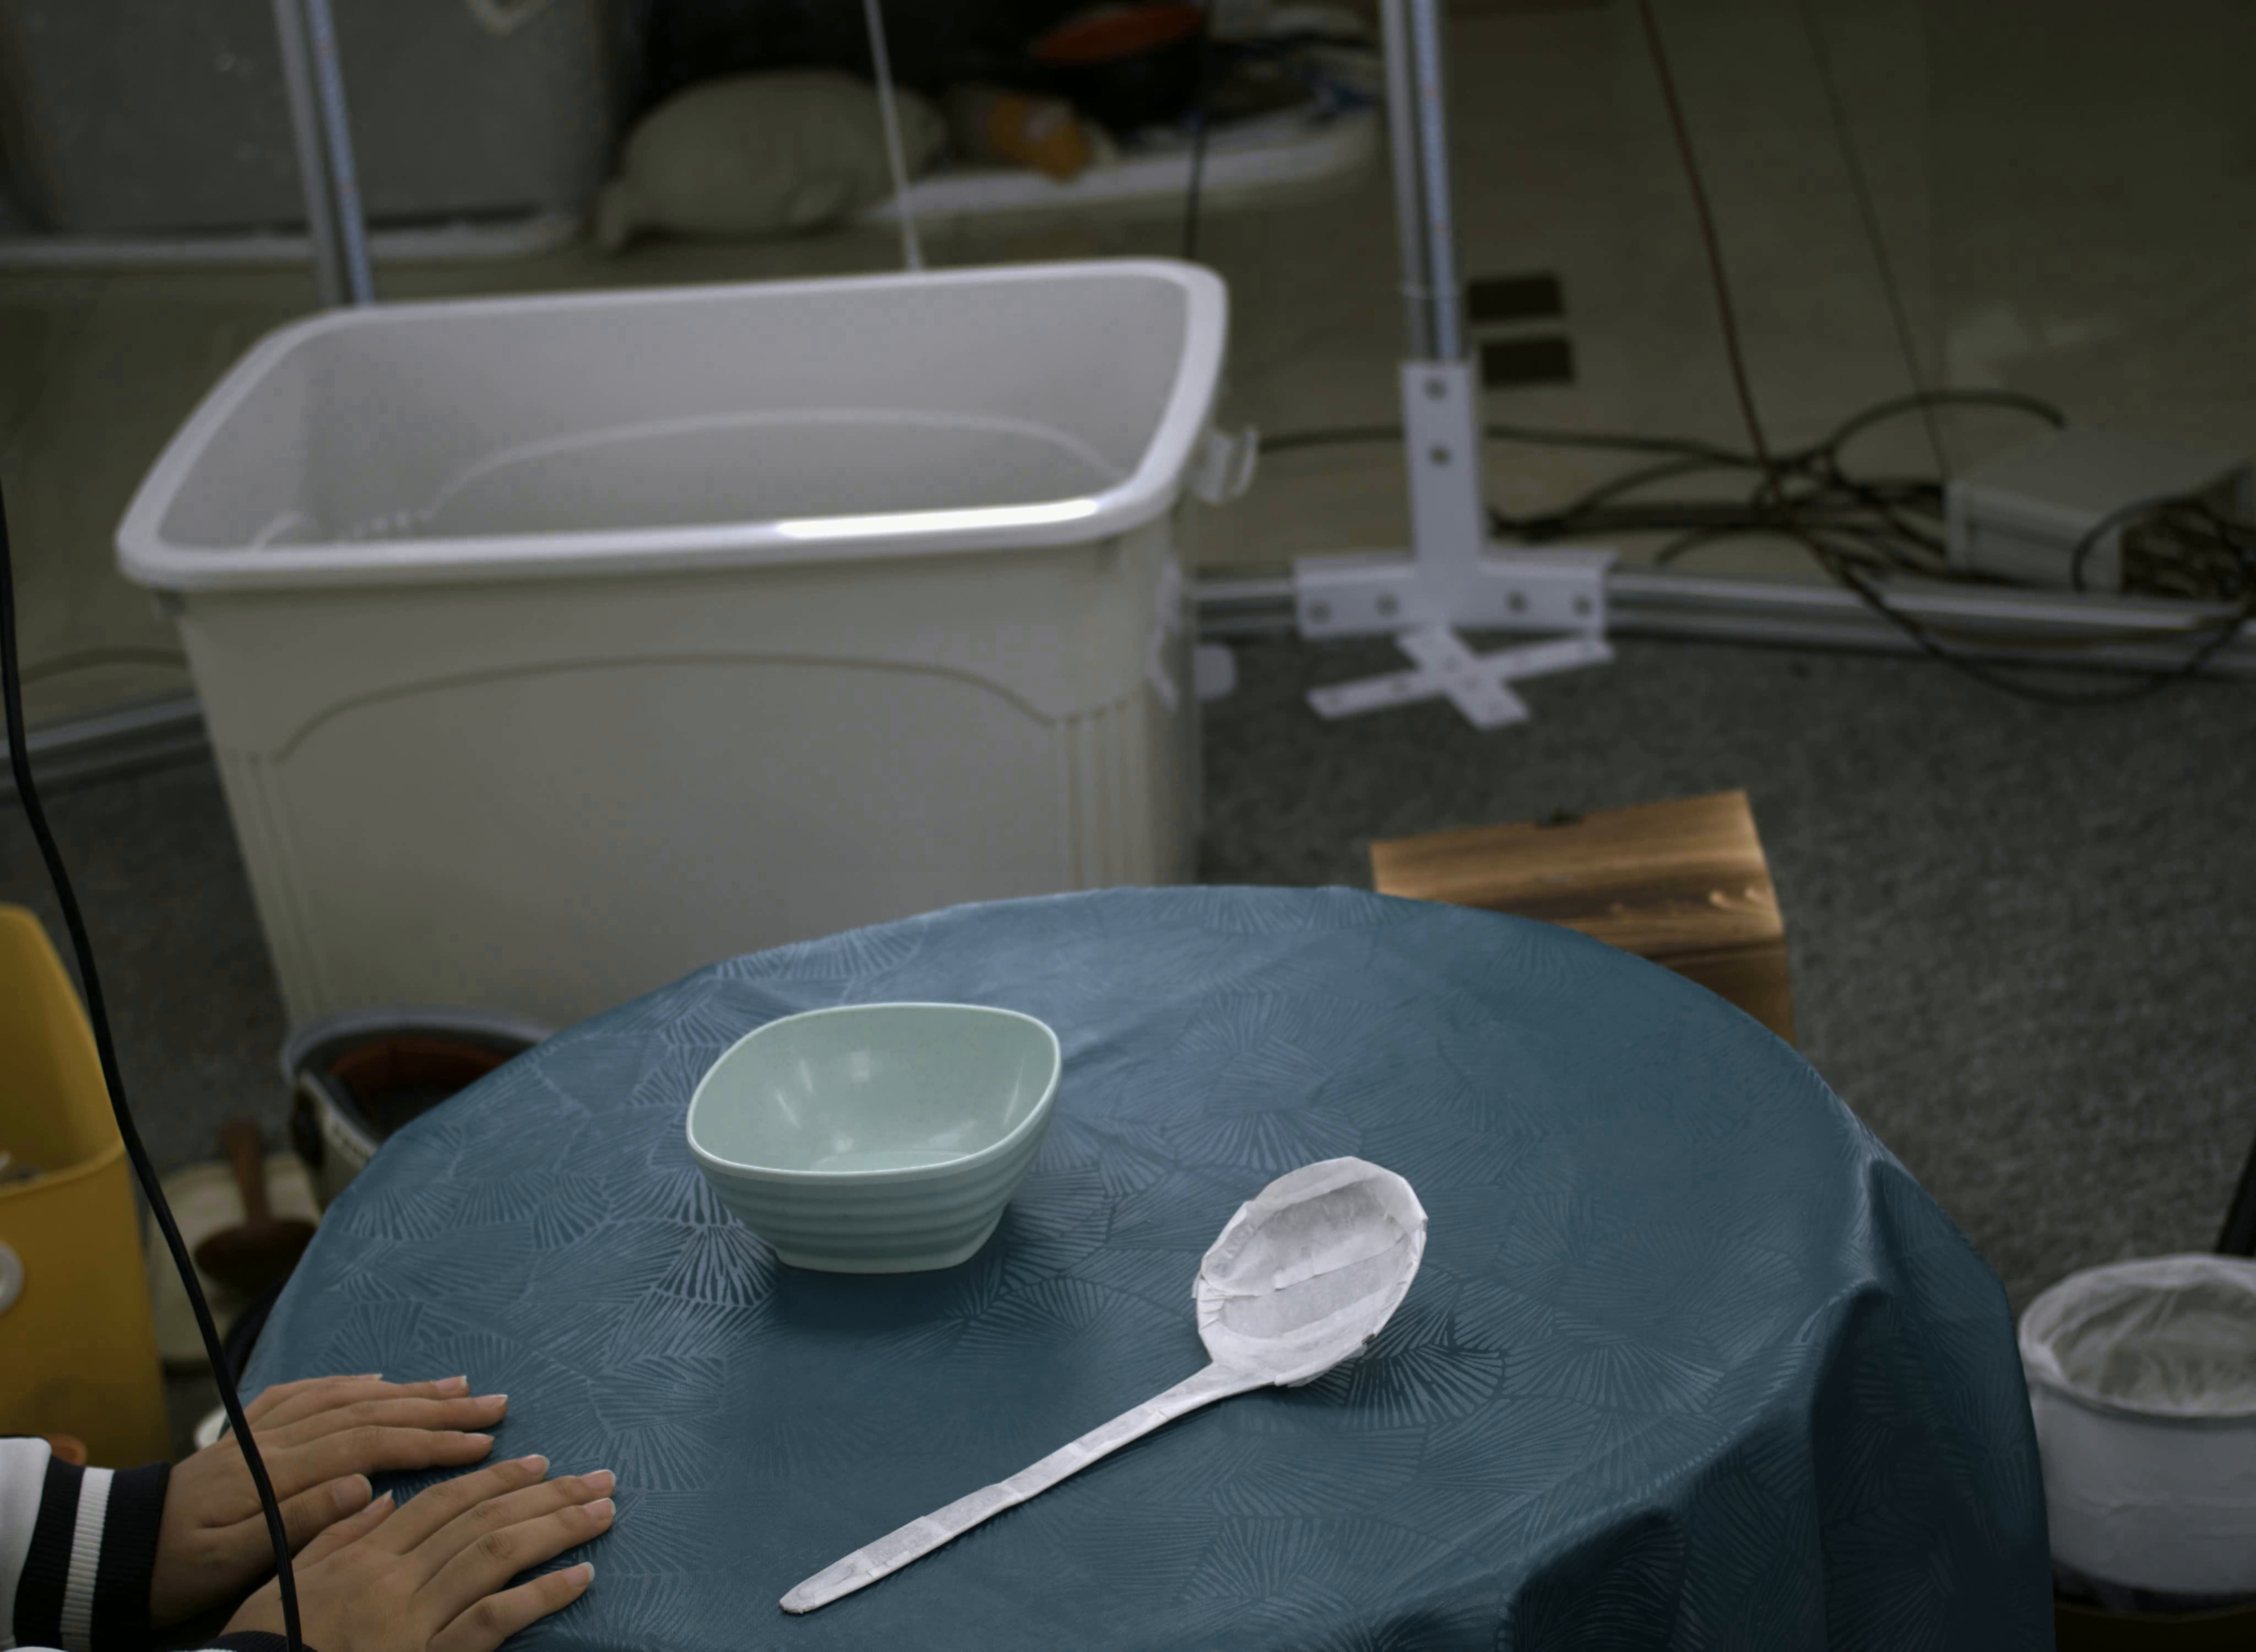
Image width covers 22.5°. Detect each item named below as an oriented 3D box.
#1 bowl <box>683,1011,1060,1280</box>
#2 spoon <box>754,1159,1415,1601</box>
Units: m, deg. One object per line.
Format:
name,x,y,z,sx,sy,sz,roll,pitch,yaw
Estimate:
bowl,-0.093,0.126,2.136,0.151,0.059,0.149,-5,25,2
spoon,-0.019,0.190,1.976,0.275,0.060,0.100,-21,24,-29
